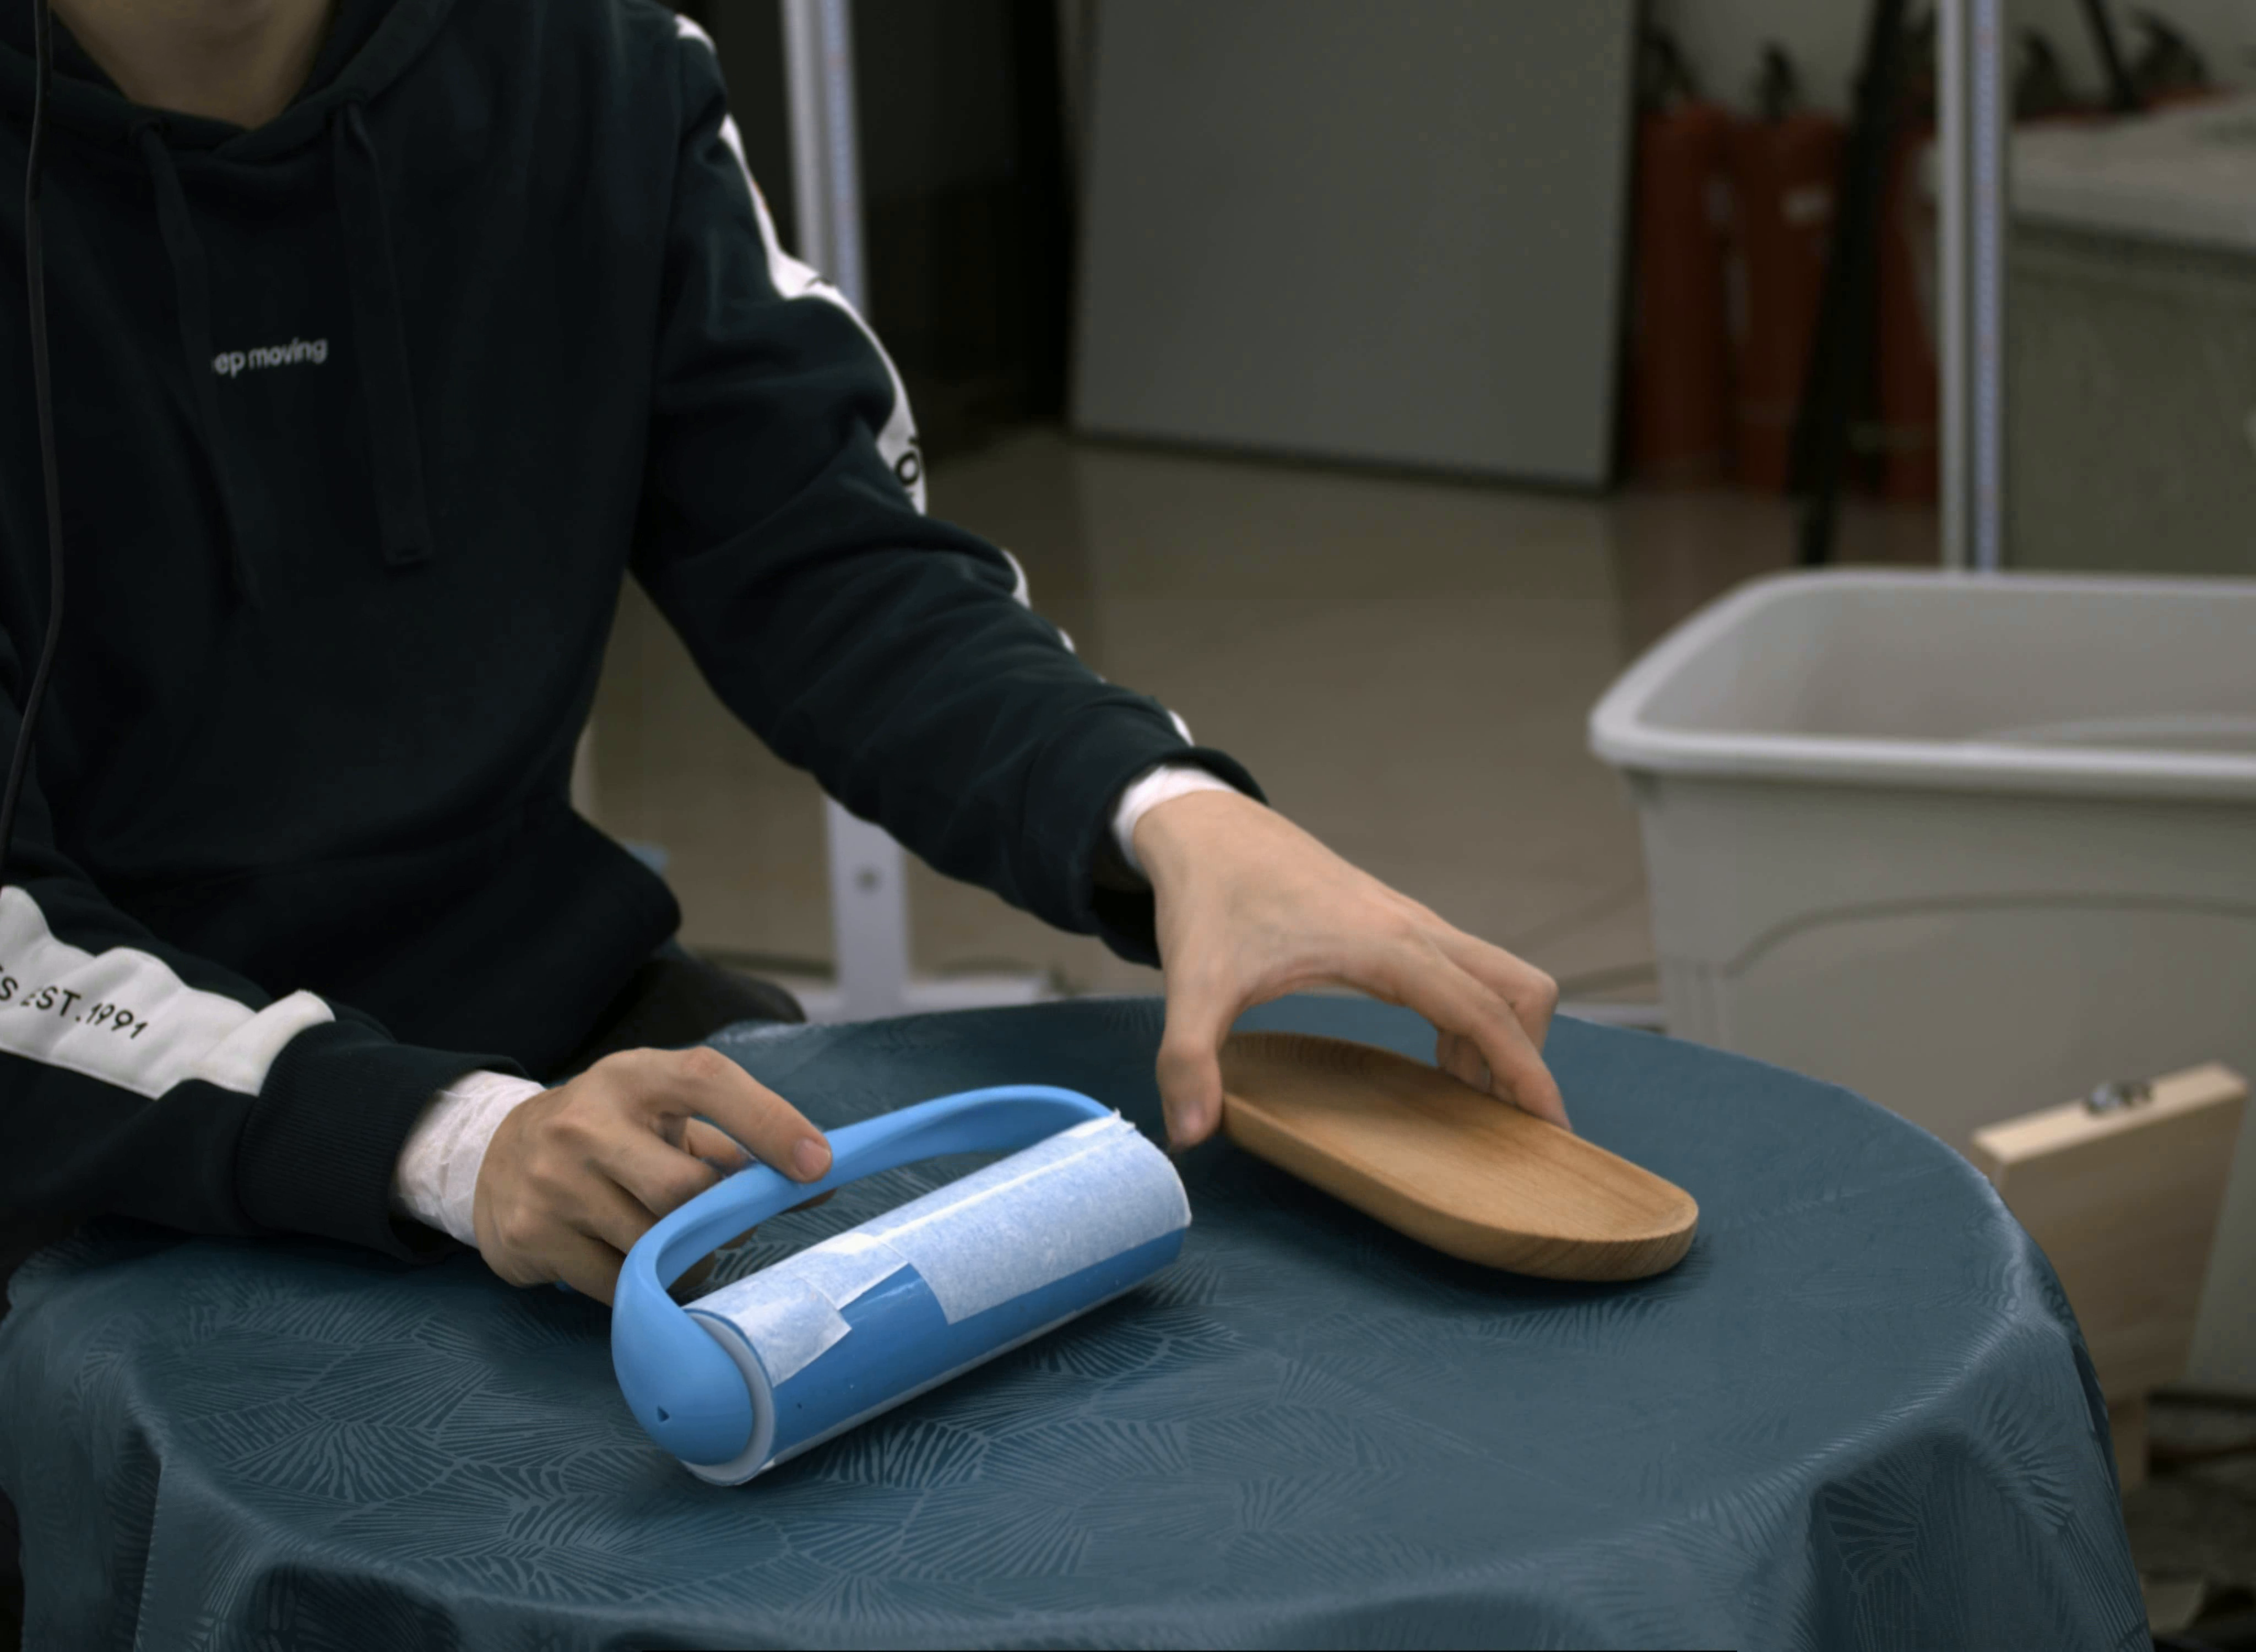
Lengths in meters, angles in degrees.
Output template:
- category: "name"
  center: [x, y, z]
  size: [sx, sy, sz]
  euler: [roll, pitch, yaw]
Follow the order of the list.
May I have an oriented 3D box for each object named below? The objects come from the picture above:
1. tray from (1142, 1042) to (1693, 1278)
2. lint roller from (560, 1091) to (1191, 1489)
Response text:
- category: "tray"
  center: [0.090, 0.106, 1.734]
  size: [0.099, 0.020, 0.234]
  euler: [-2, 13, -33]
- category: "lint roller"
  center: [-0.106, 0.131, 1.633]
  size: [0.181, 0.068, 0.225]
  euler: [8, 20, 36]
